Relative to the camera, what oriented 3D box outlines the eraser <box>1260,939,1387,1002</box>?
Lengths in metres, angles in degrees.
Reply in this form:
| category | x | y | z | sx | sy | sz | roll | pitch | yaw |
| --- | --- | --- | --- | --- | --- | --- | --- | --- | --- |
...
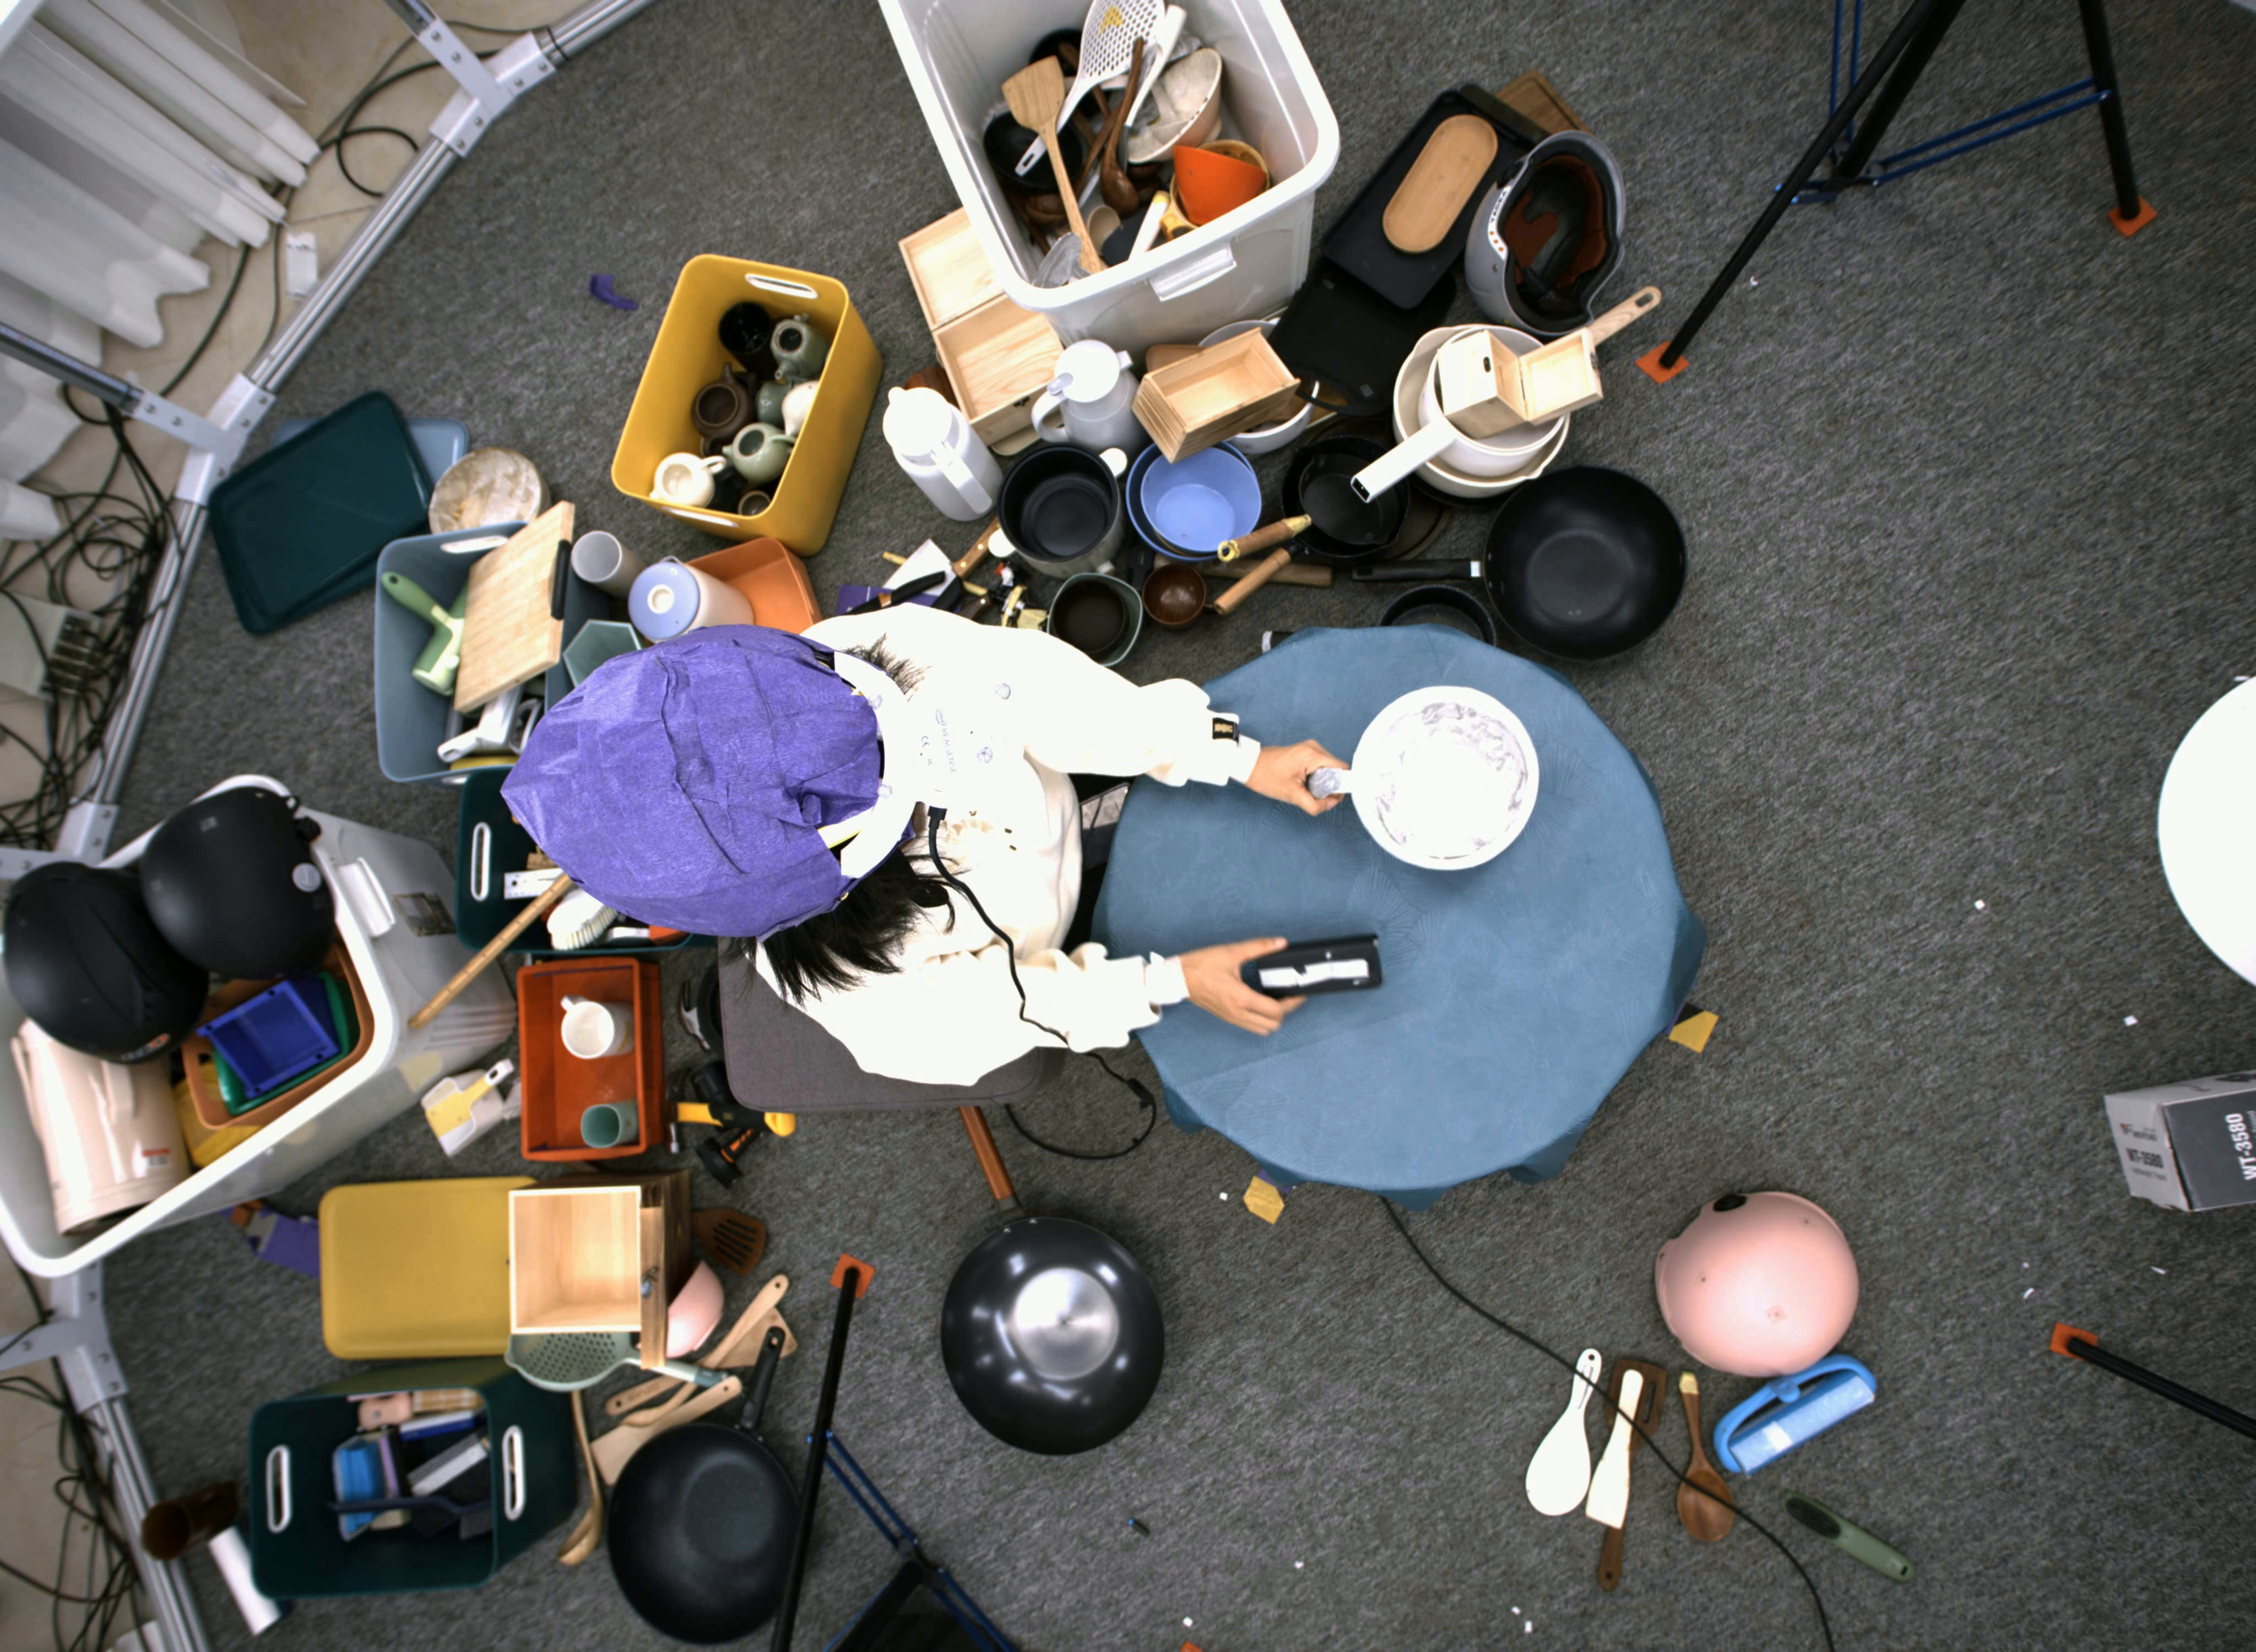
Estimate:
| category | x | y | z | sx | sy | sz | roll | pitch | yaw |
| --- | --- | --- | --- | --- | --- | --- | --- | --- | --- |
| eraser | 0.201 | 0.146 | 1.418 | 0.126 | 0.030 | 0.054 | -7 | 105 | 17 |

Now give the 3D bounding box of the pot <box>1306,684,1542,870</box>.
| category | x | y | z | sx | sy | sz | roll | pitch | yaw |
| --- | --- | --- | --- | --- | --- | --- | --- | --- | --- |
| pot | 0.294 | -0.046 | 1.388 | 0.235 | 0.136 | 0.178 | -2 | 88 | 13 |
